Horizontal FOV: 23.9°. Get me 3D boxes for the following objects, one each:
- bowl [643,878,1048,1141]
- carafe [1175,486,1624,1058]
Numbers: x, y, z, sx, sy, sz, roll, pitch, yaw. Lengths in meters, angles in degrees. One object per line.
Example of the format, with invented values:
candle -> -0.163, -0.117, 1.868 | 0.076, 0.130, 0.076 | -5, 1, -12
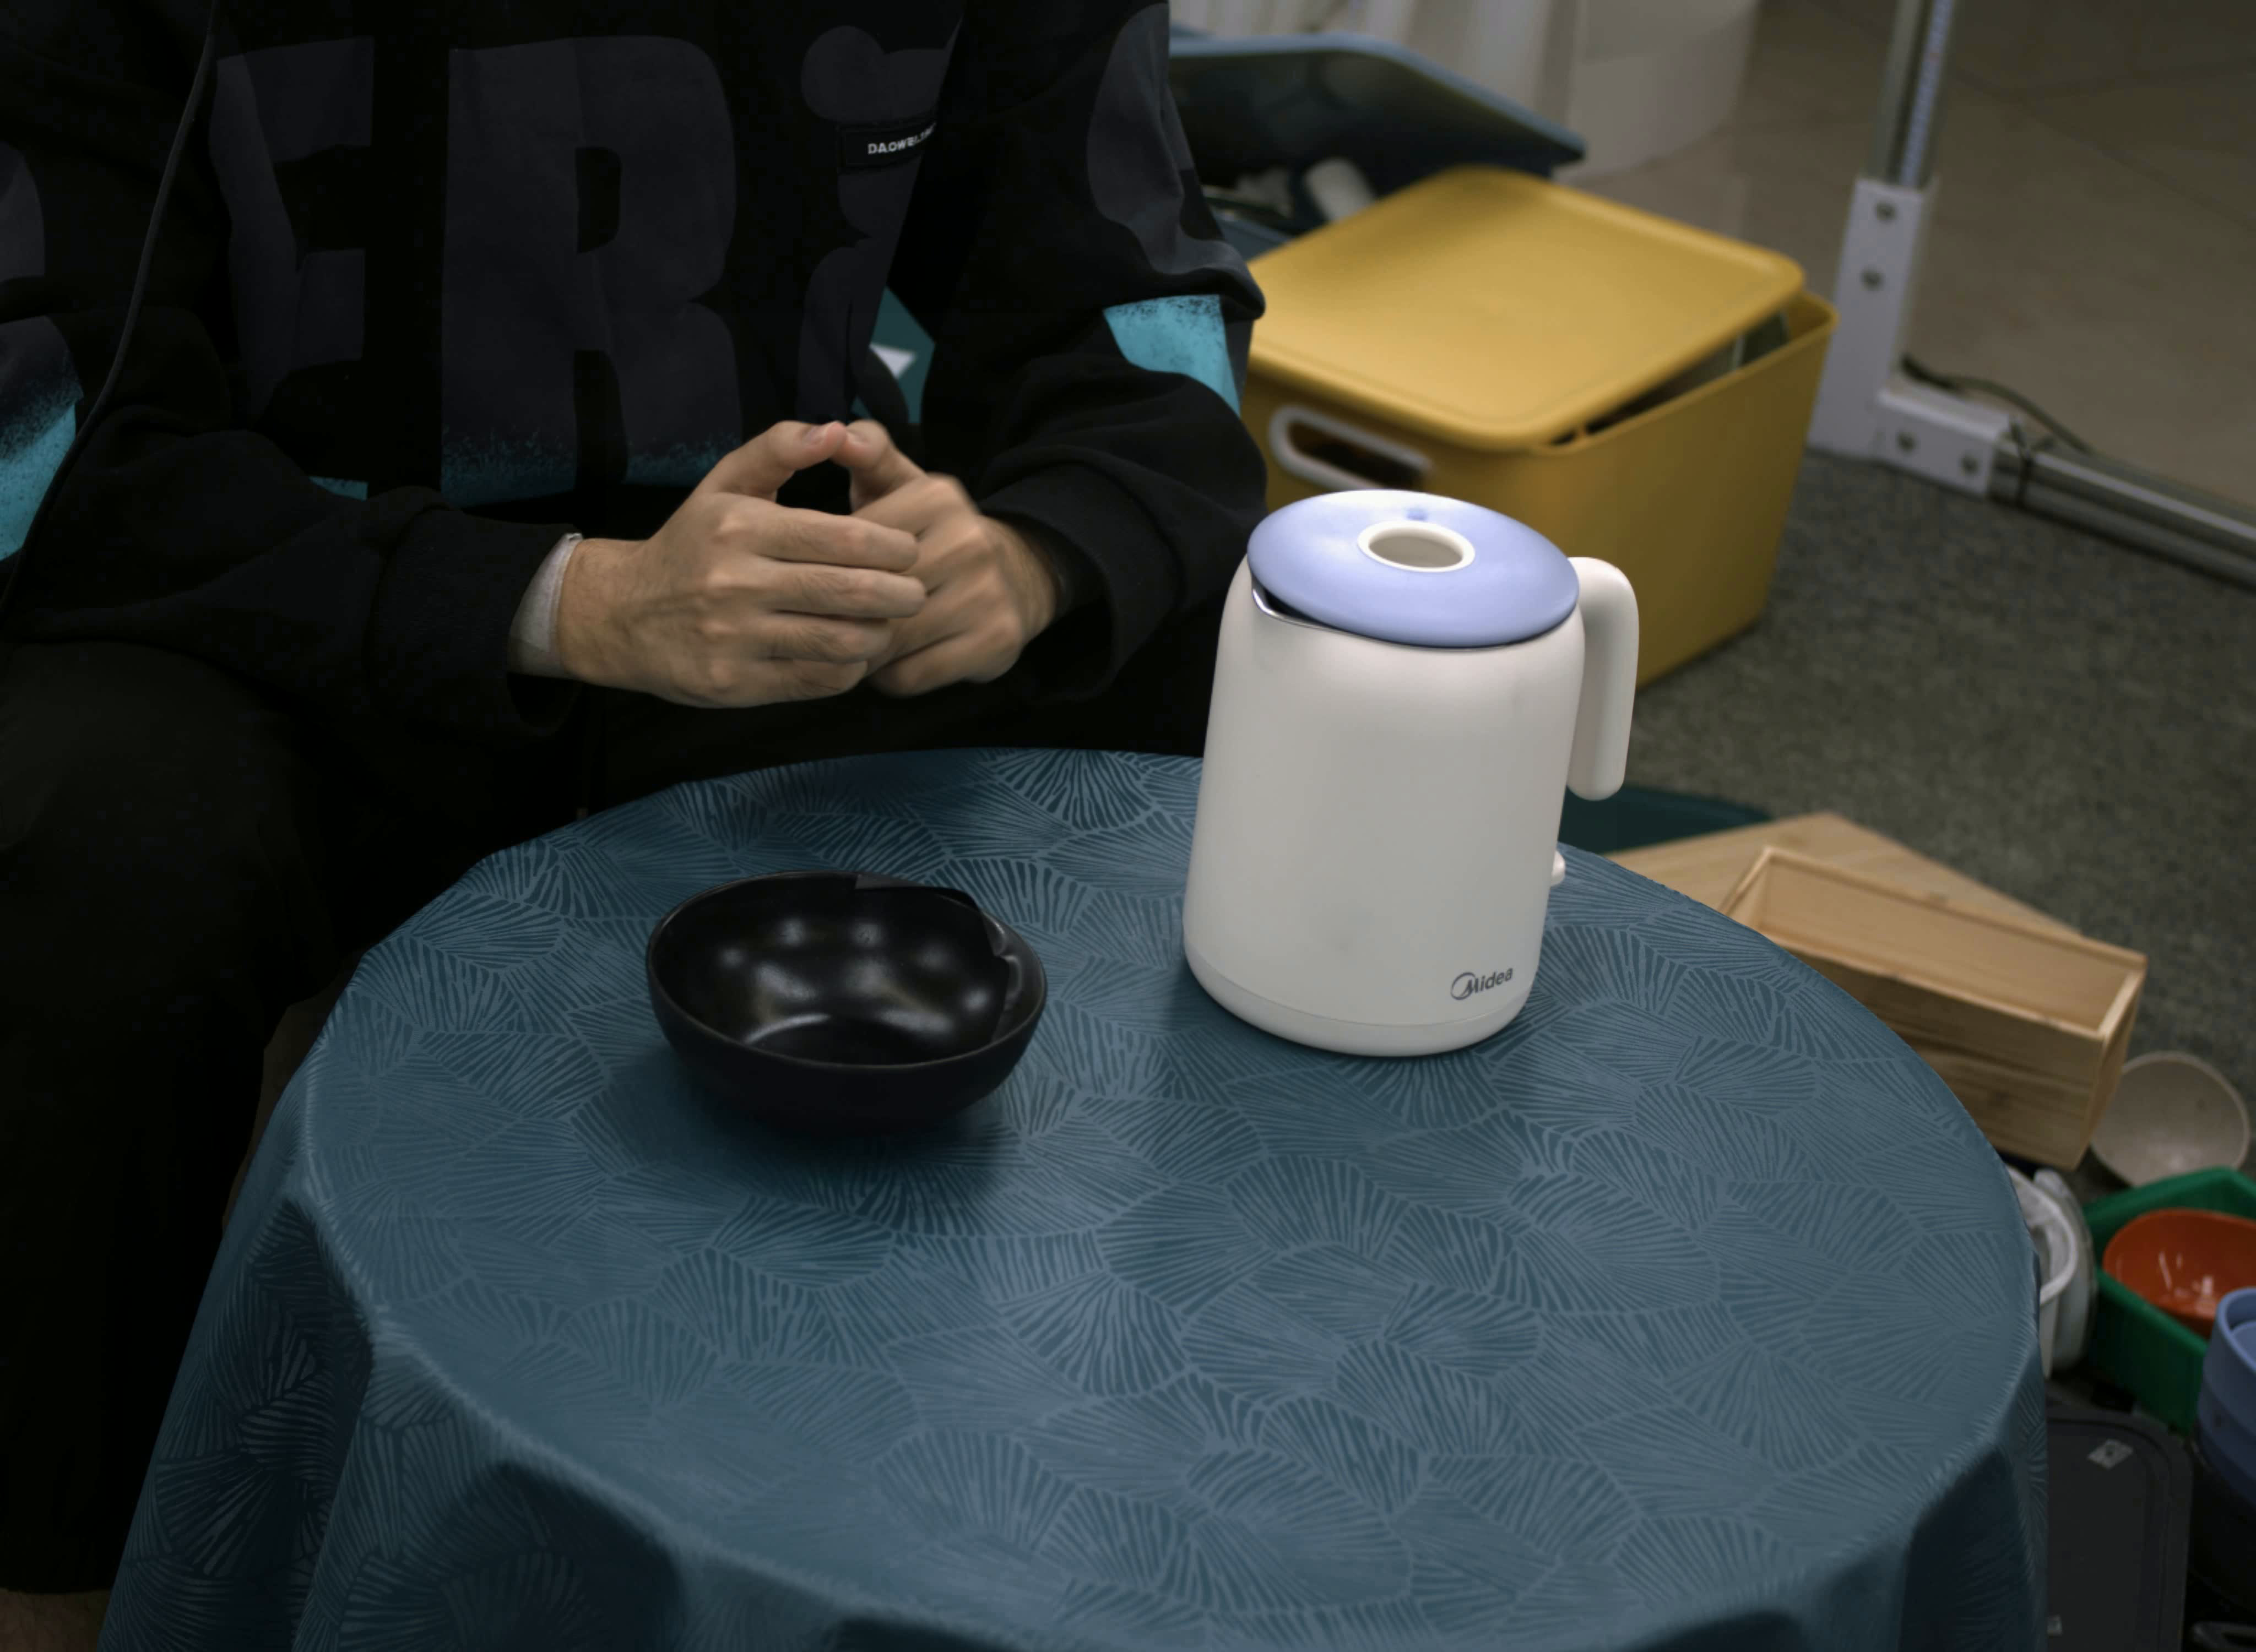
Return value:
bowl -> -0.098, 0.070, 1.829 | 0.139, 0.049, 0.141 | 3, 25, -2
carafe -> 0.109, -0.024, 1.927 | 0.190, 0.182, 0.133 | -13, 34, -39
